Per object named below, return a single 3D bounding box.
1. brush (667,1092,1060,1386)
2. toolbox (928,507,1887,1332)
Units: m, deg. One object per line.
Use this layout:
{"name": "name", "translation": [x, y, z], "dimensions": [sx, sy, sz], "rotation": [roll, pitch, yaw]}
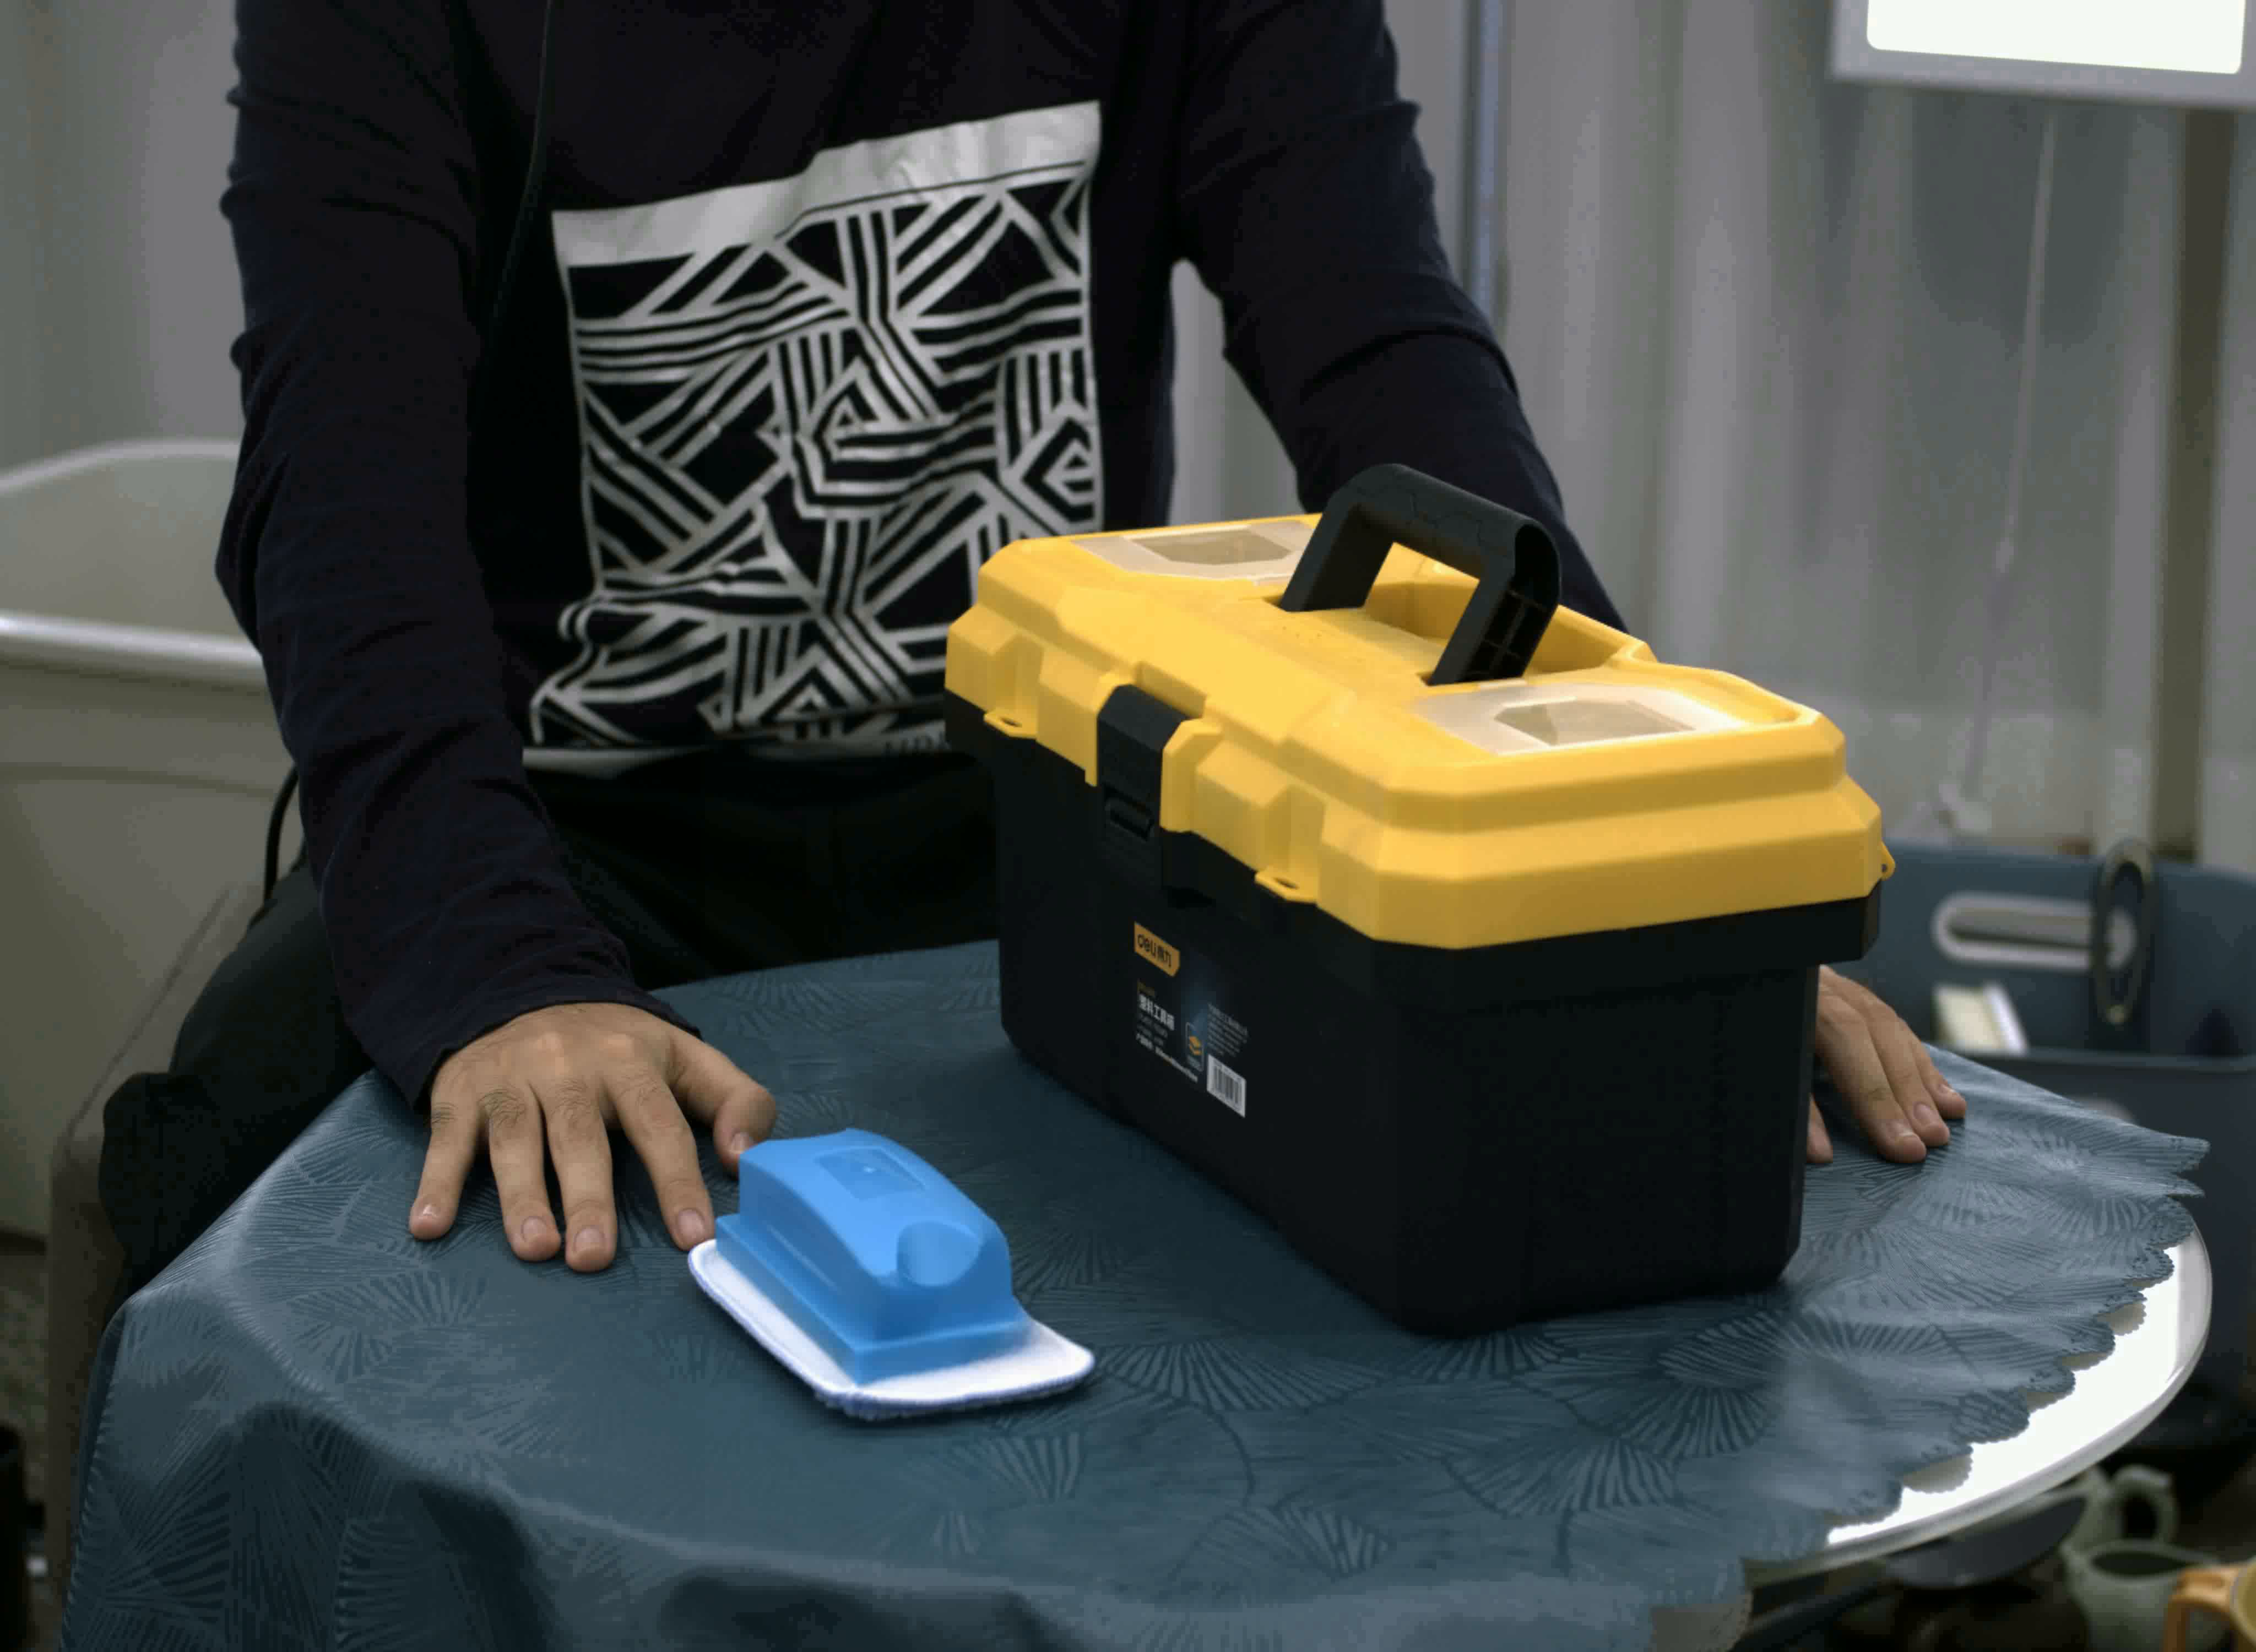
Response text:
{"name": "brush", "translation": [-0.074, 0.114, 1.497], "dimensions": [0.084, 0.056, 0.142], "rotation": [-2, 18, -23]}
{"name": "toolbox", "translation": [0.077, 0.020, 1.634], "dimensions": [0.182, 0.174, 0.347], "rotation": [-6, 17, -24]}
